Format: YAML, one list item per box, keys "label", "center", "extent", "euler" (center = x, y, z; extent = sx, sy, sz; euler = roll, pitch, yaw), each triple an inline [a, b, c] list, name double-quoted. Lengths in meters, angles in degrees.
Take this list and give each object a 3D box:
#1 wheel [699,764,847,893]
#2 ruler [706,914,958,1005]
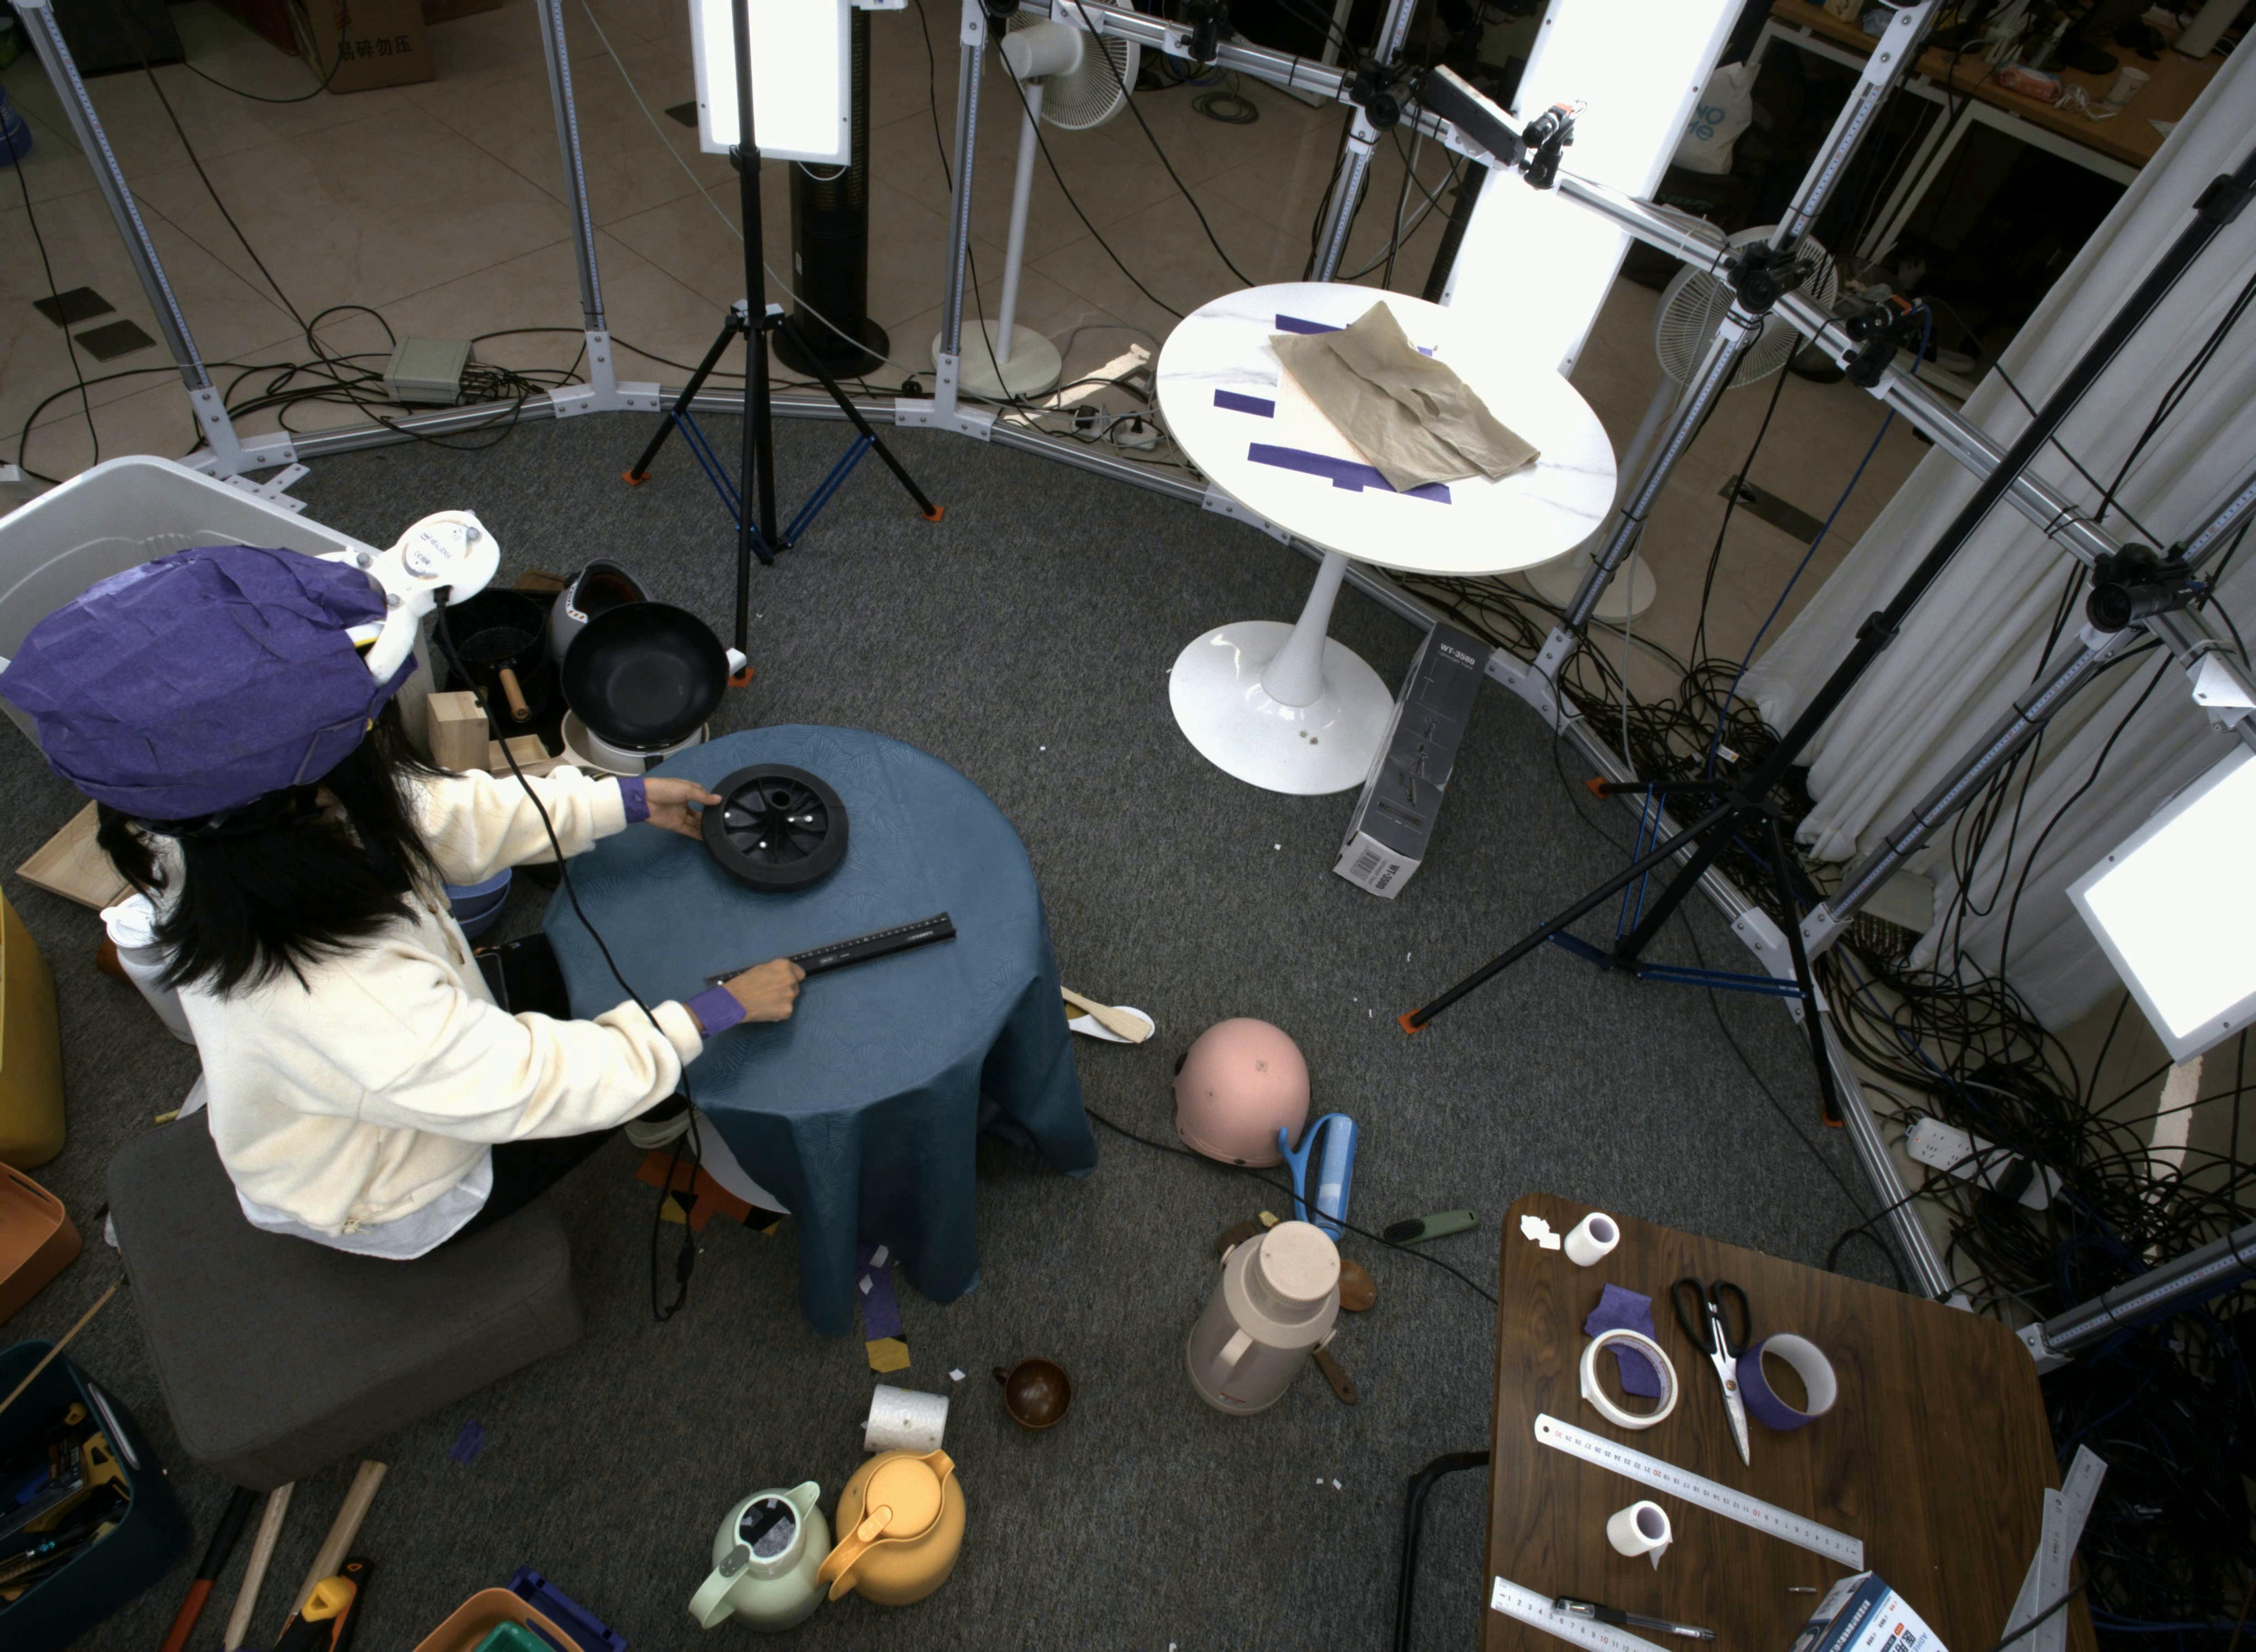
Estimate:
- label: "wheel"
  center: [-0.453, -0.013, 1.663]
  extent: [0.188, 0.080, 0.187]
  euler: [18, 52, -11]
- label: "ruler"
  center: [-0.361, 0.157, 1.603]
  extent: [0.314, 0.017, 0.038]
  euler: [-14, 64, -24]
